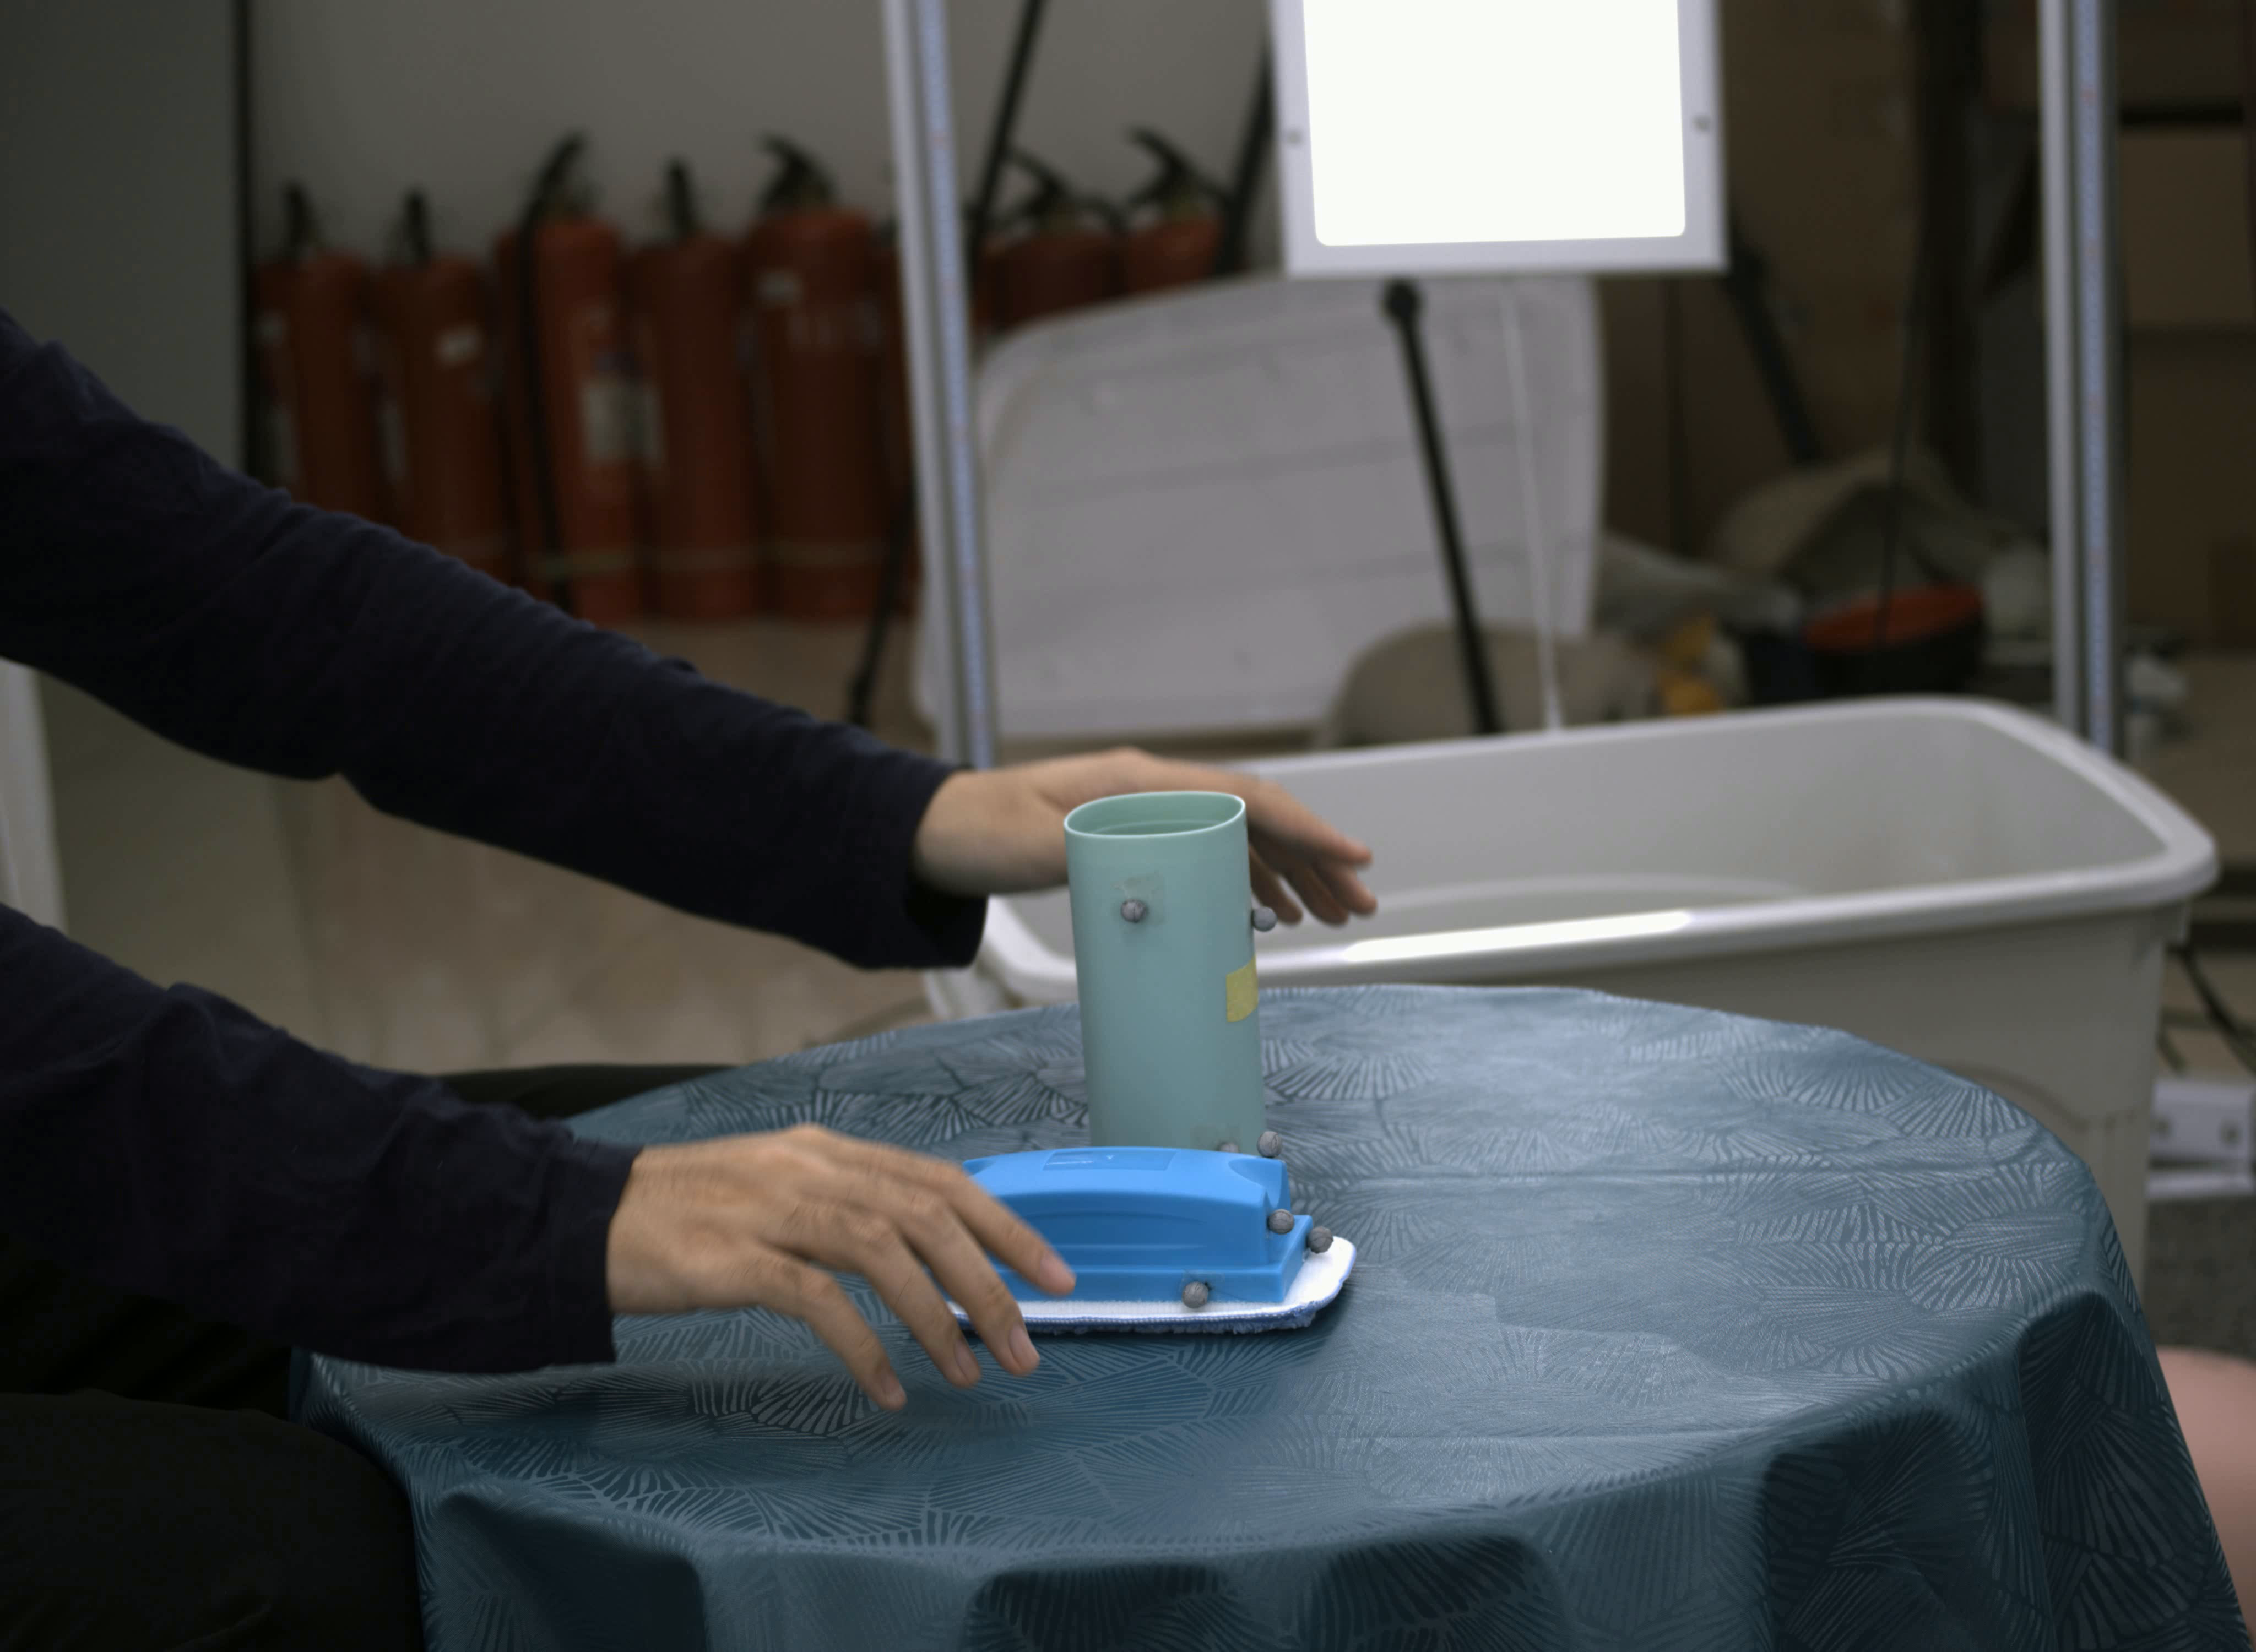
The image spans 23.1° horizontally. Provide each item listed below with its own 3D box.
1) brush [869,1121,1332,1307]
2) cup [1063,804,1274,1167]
[{"bbox_3d":[-0.008,0.125,1.778,0.145,0.056,0.082,2,12,17],"label":"brush"},{"bbox_3d":[0.014,0.063,1.898,0.066,0.133,0.066,-6,14,0],"label":"cup"}]
